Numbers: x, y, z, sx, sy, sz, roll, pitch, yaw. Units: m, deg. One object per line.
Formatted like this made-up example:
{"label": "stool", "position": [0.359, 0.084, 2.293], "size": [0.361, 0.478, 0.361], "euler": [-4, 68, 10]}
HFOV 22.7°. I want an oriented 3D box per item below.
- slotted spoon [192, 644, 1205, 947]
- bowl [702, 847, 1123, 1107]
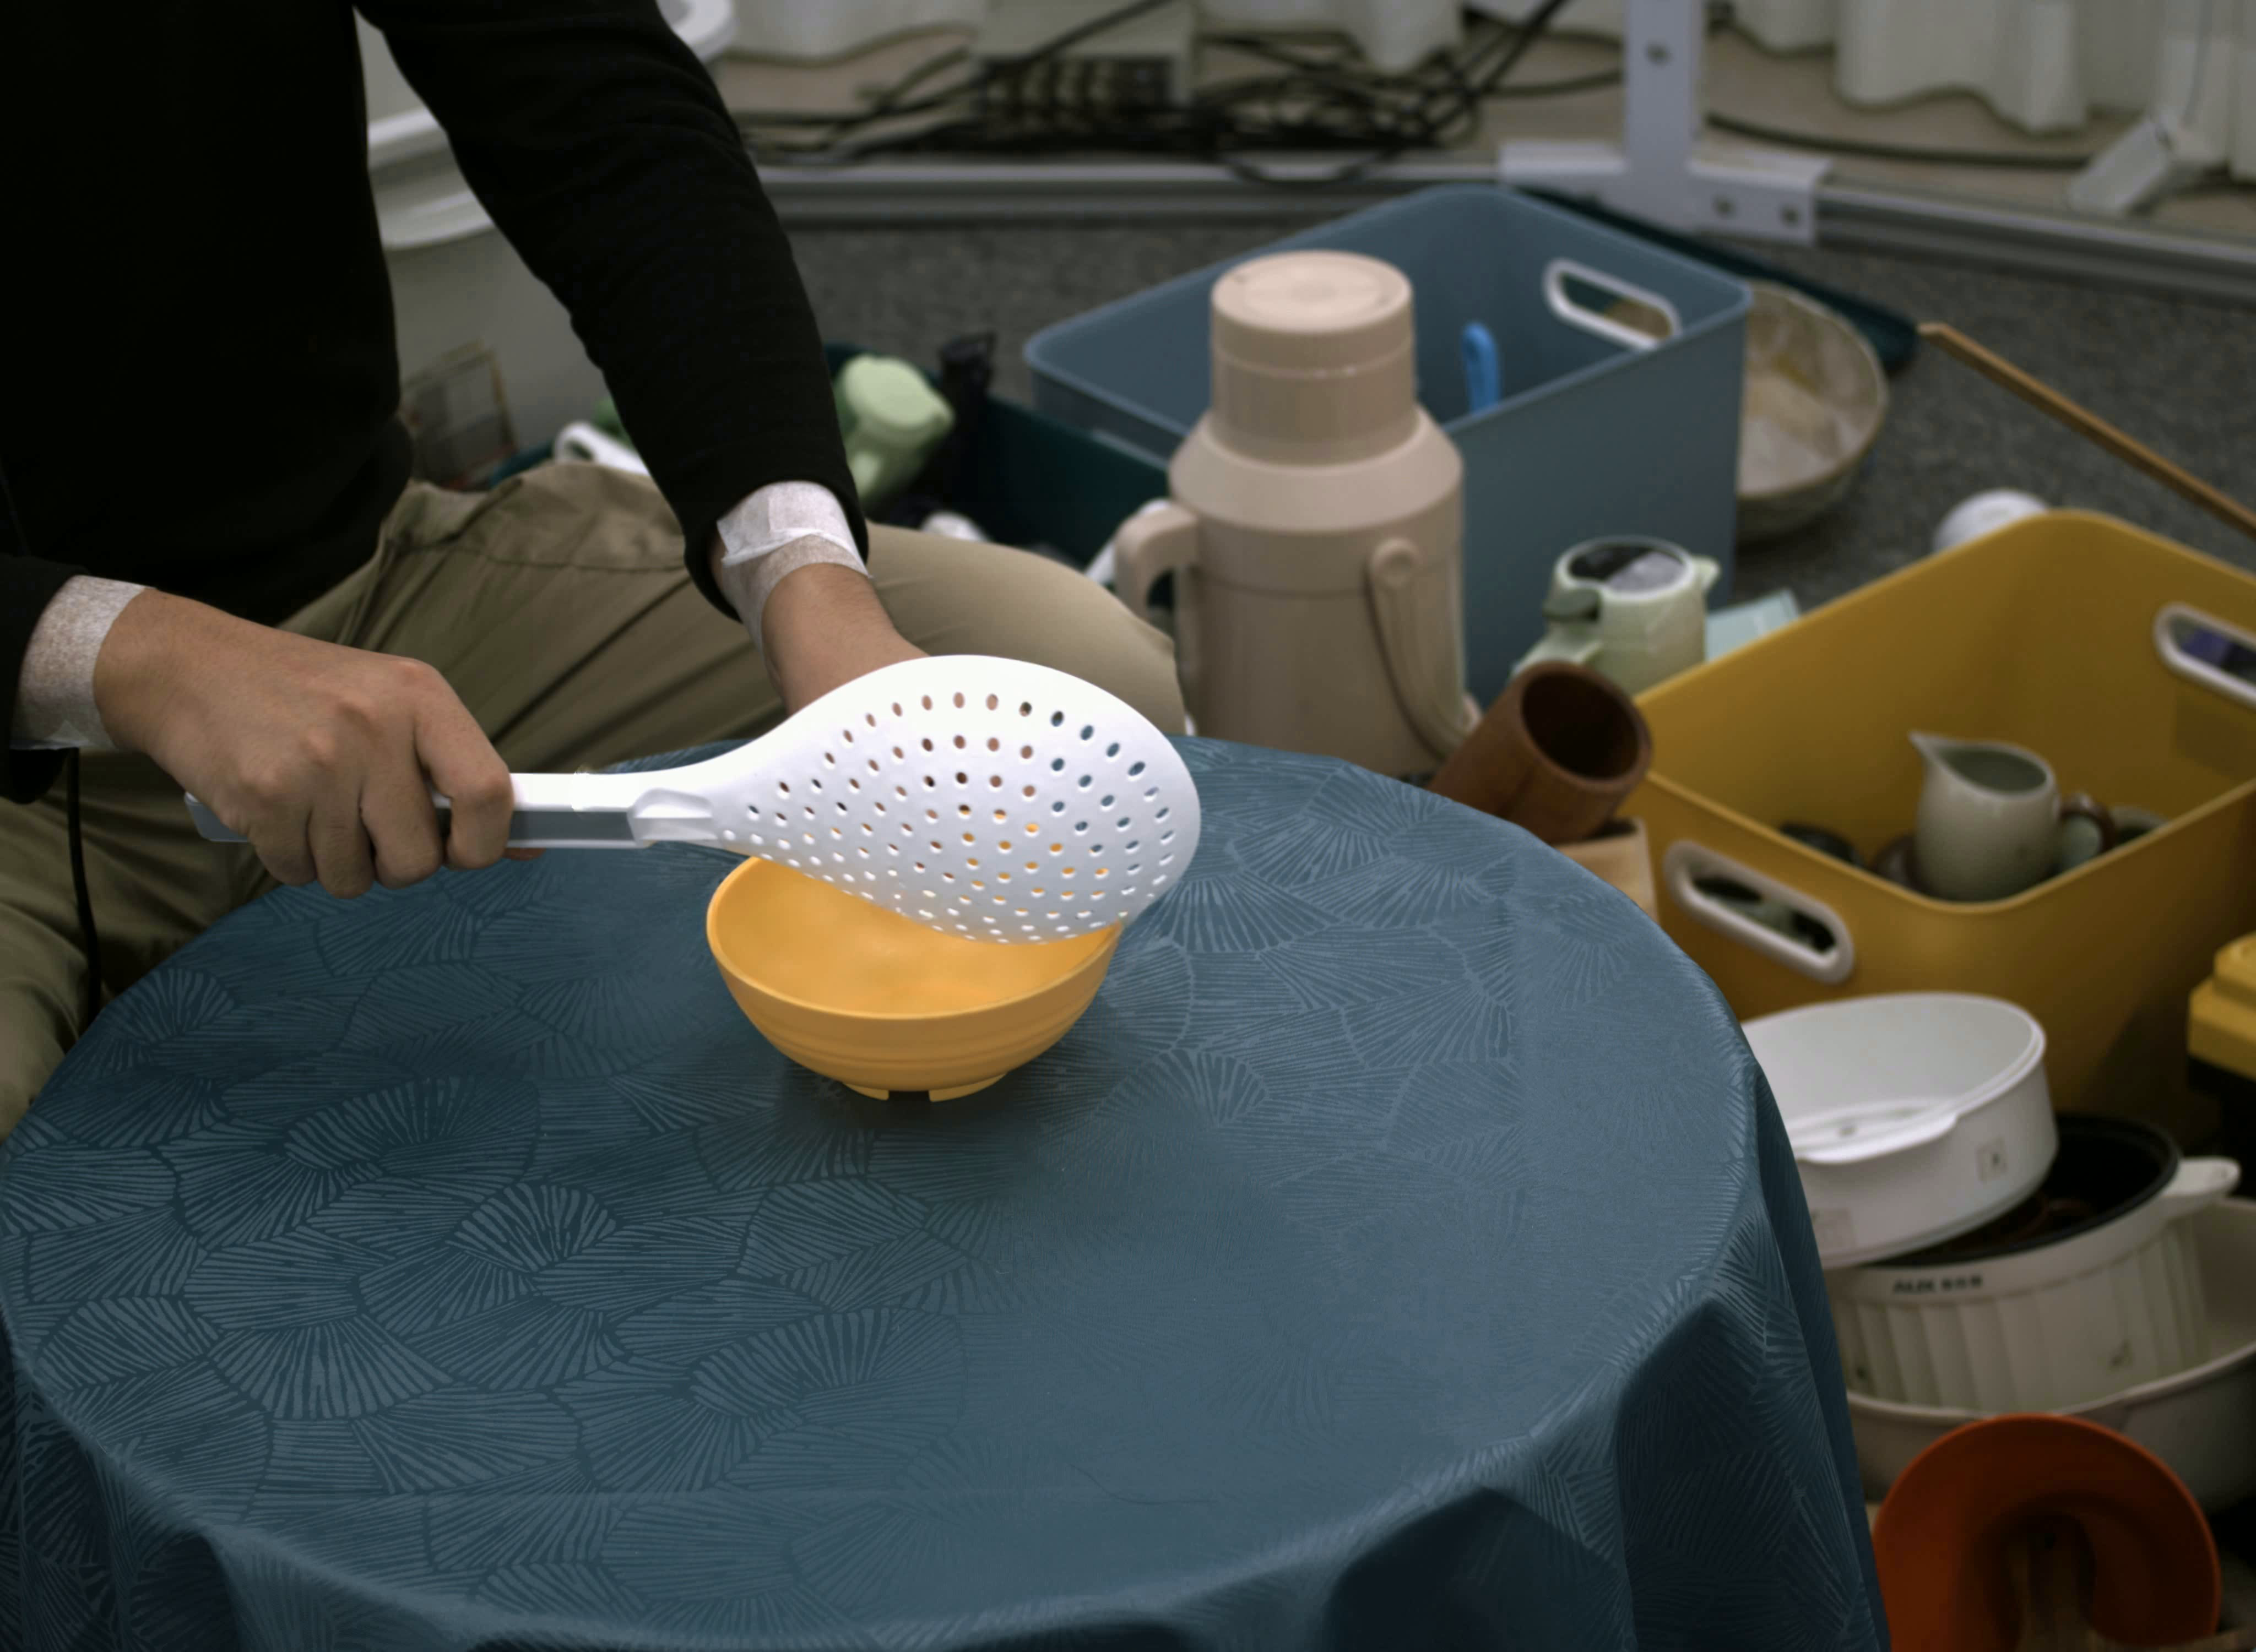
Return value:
{"label": "slotted spoon", "position": [-0.148, -0.006, 1.886], "size": [0.347, 0.134, 0.047], "euler": [4, 46, 15]}
{"label": "bowl", "position": [-0.074, 0.055, 1.936], "size": [0.144, 0.059, 0.147], "euler": [1, 28, 0]}
